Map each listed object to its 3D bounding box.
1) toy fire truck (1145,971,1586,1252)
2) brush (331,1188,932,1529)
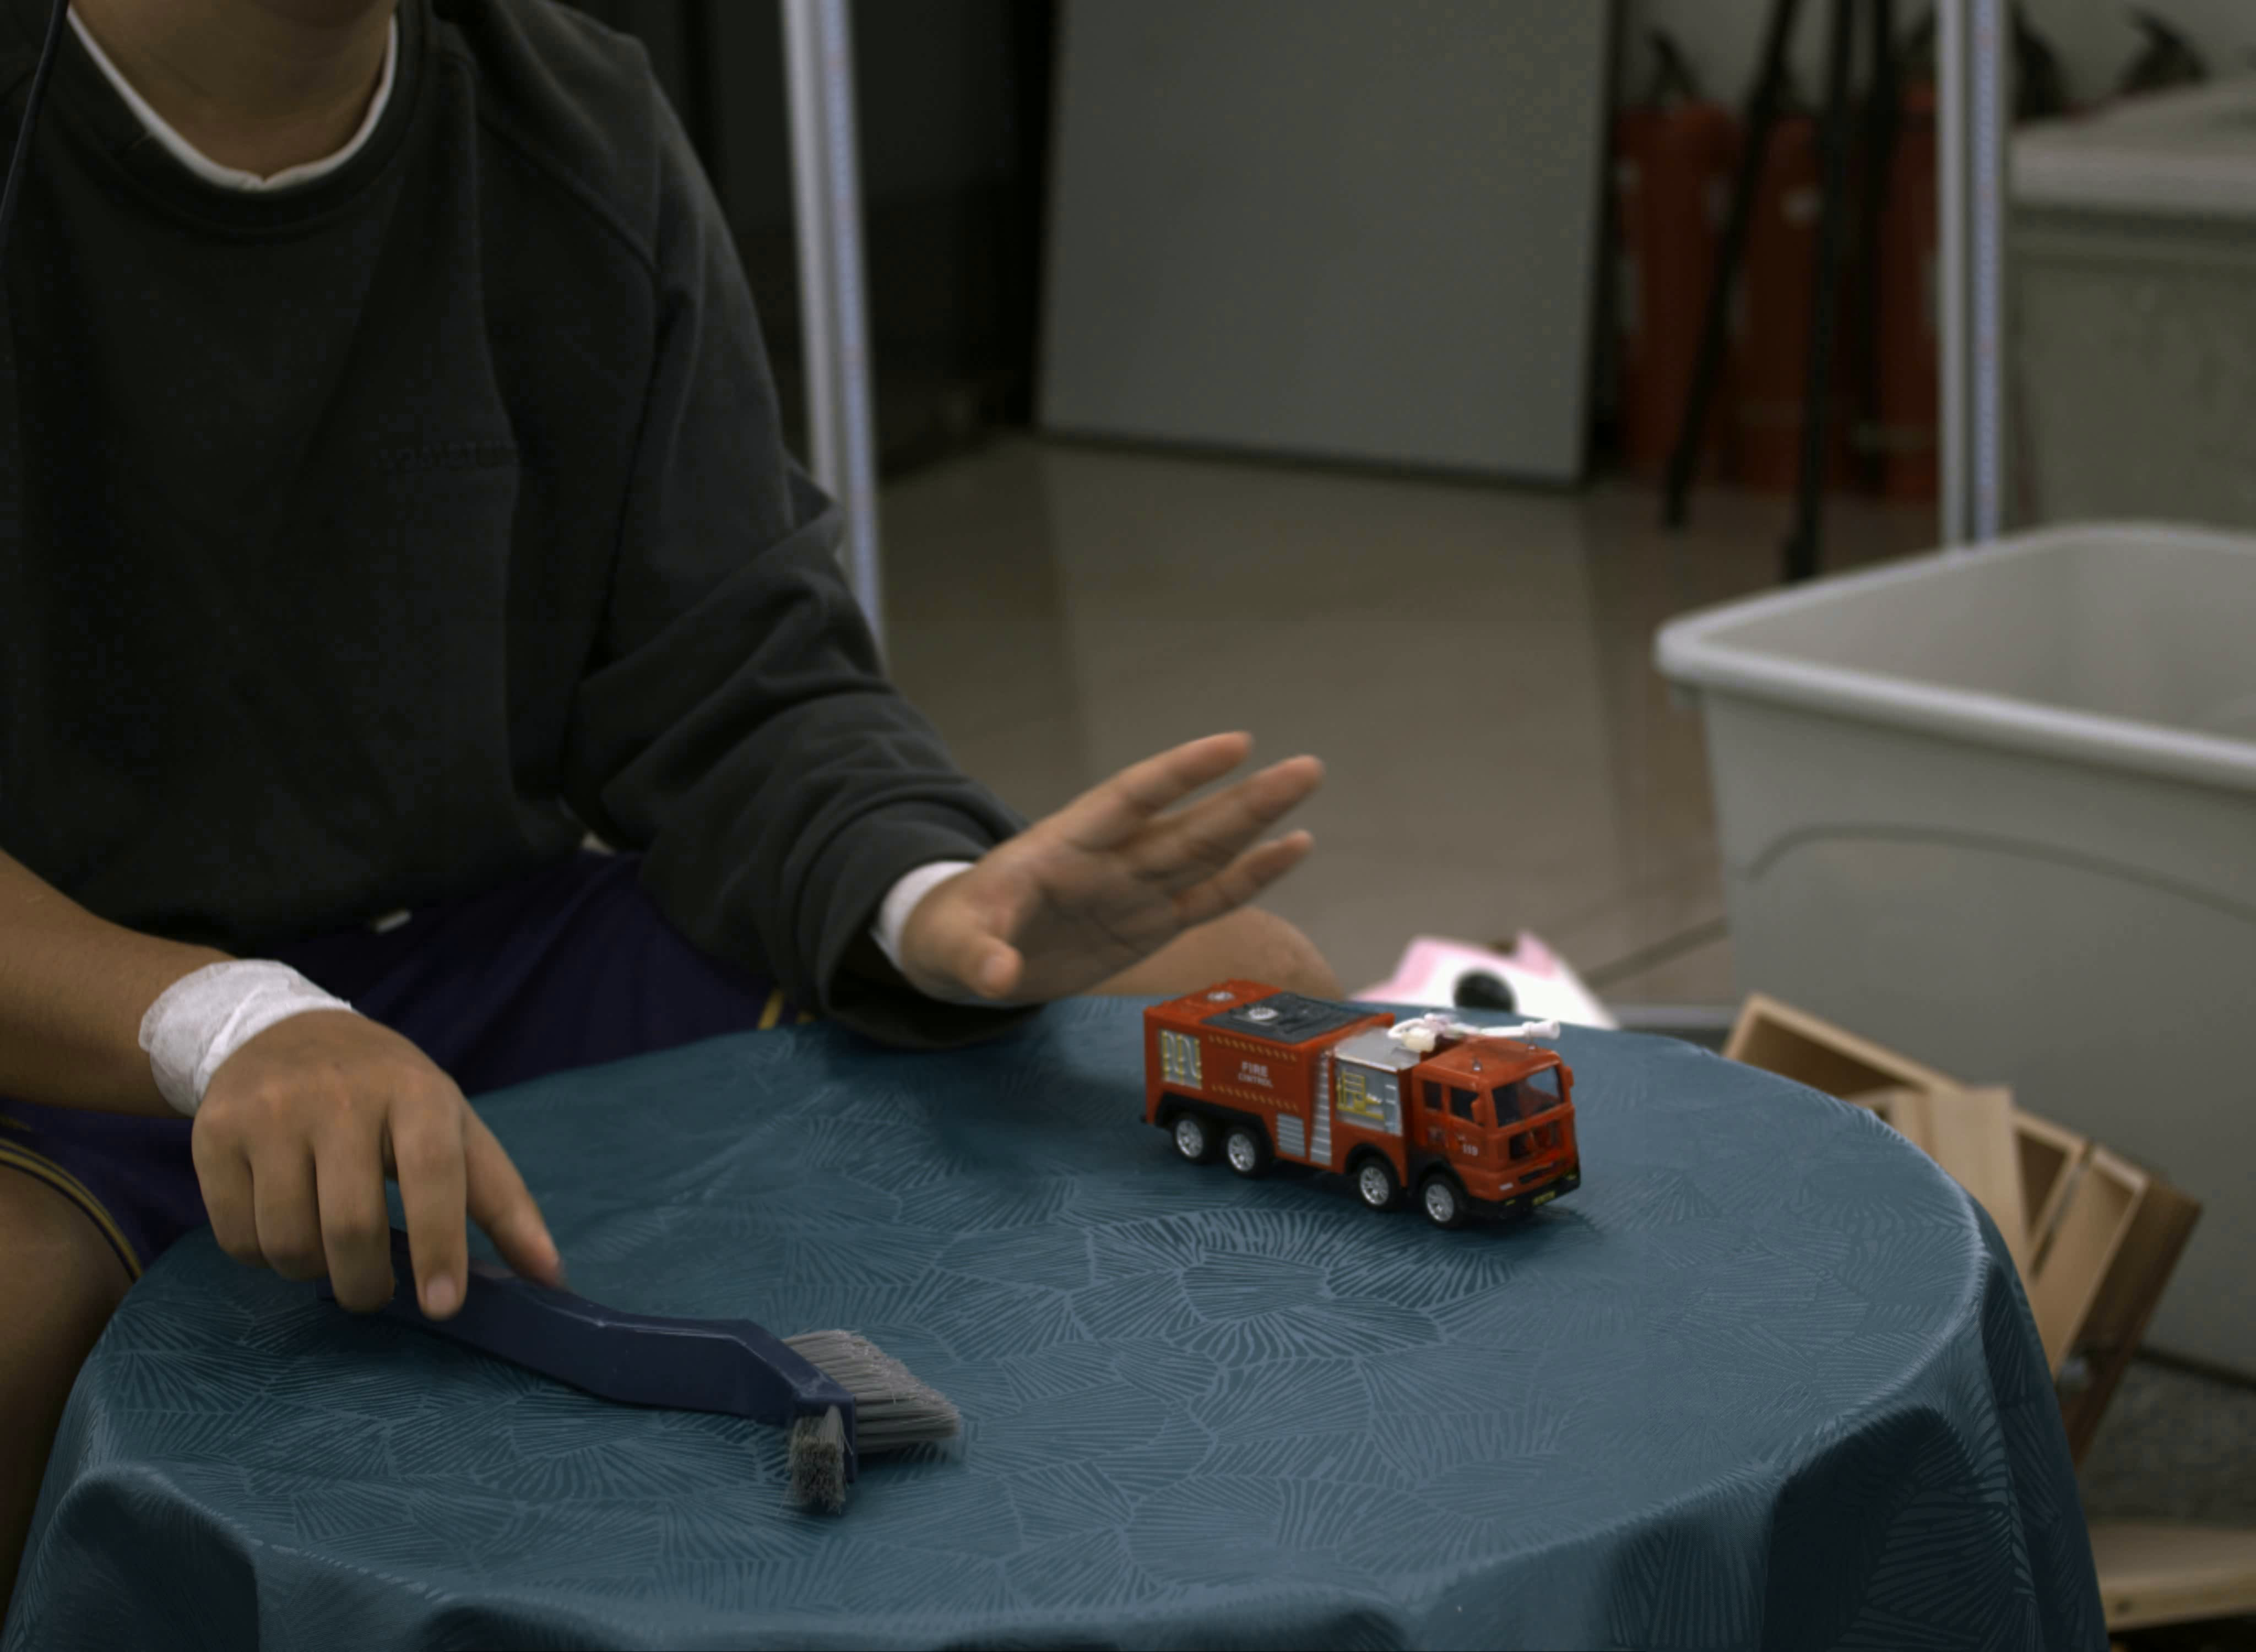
[{"bbox_3d":[0.076,0.089,1.754,0.053,0.071,0.169,-16,18,-41],"label":"toy fire truck"},{"bbox_3d":[-0.167,0.155,1.610,0.275,0.034,0.094,10,19,40],"label":"brush"}]
